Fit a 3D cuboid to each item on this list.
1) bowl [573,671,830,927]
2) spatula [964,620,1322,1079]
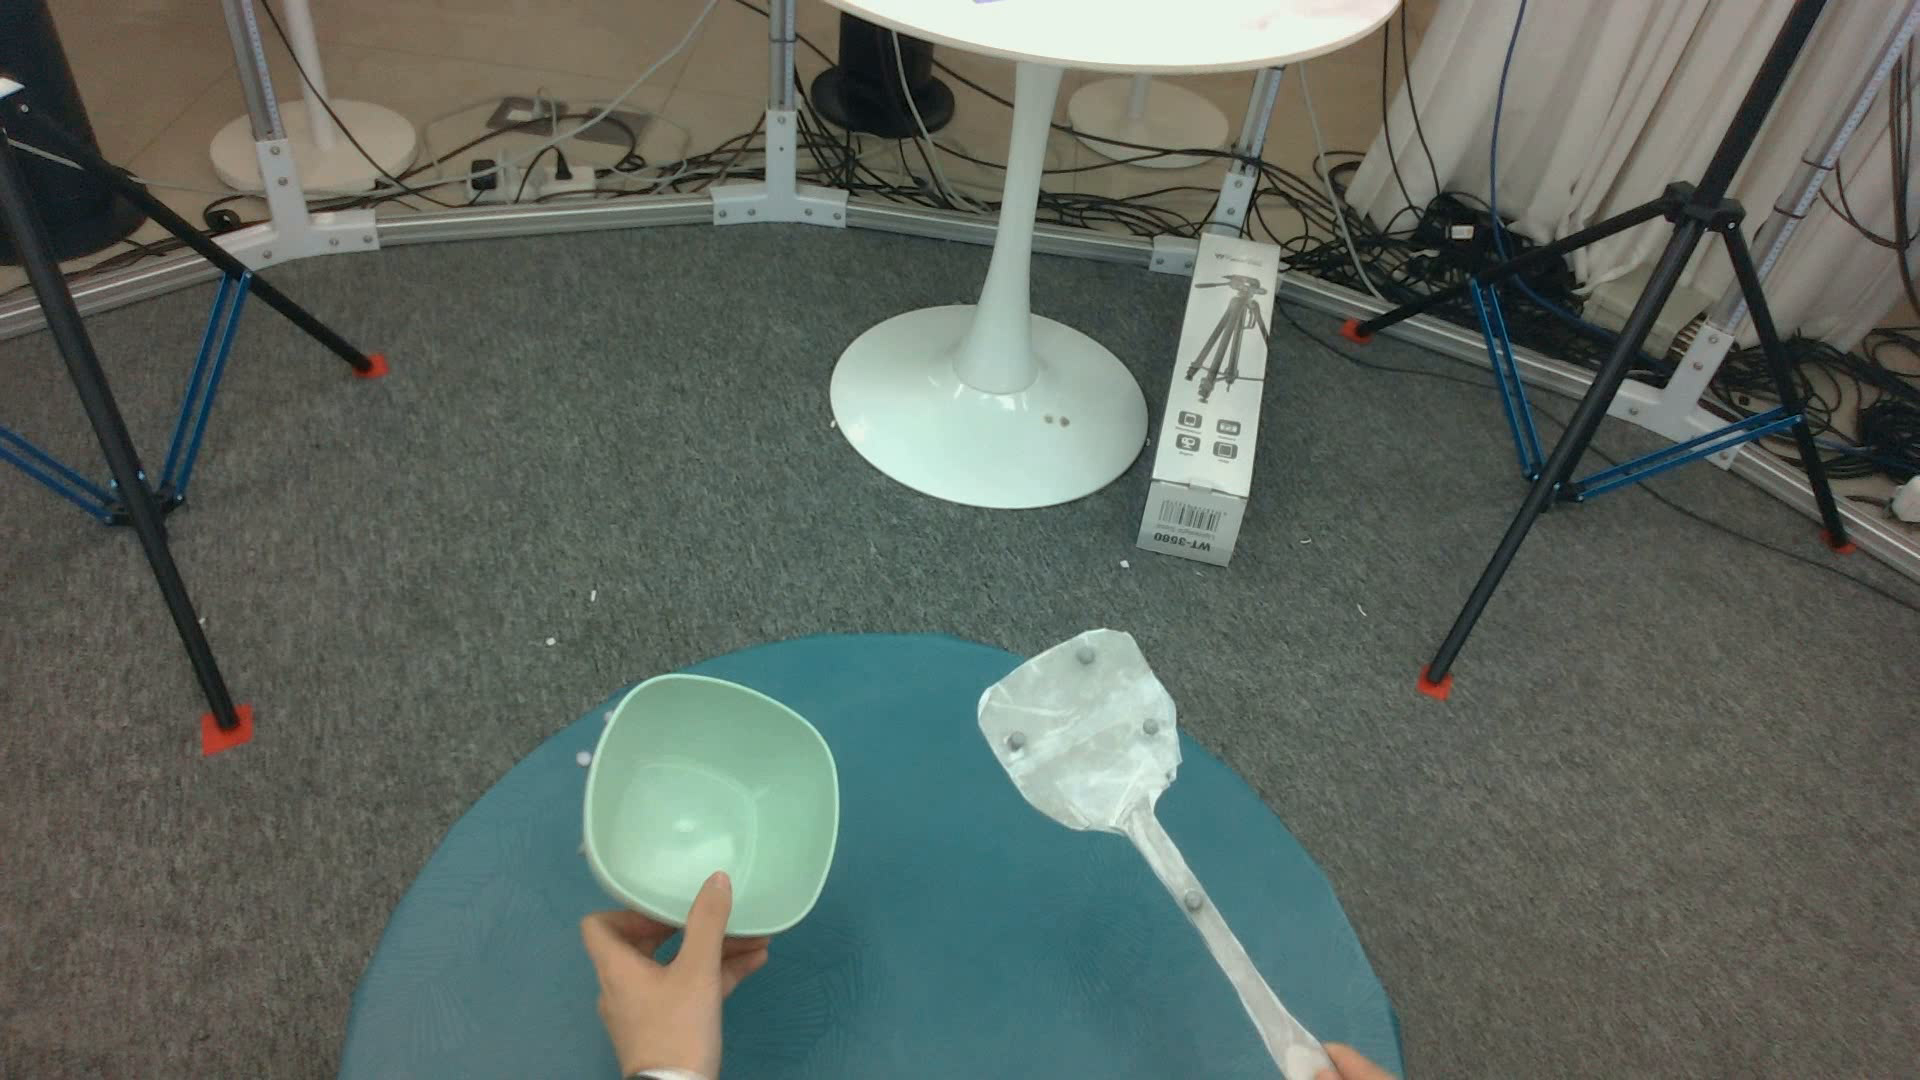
[{"bbox_3d":[-0.145,0.147,0.744,0.151,0.058,0.152,18,49,-23],"label":"bowl"},{"bbox_3d":[0.115,0.182,0.649,0.099,0.044,0.366,-26,47,-8],"label":"spatula"}]
